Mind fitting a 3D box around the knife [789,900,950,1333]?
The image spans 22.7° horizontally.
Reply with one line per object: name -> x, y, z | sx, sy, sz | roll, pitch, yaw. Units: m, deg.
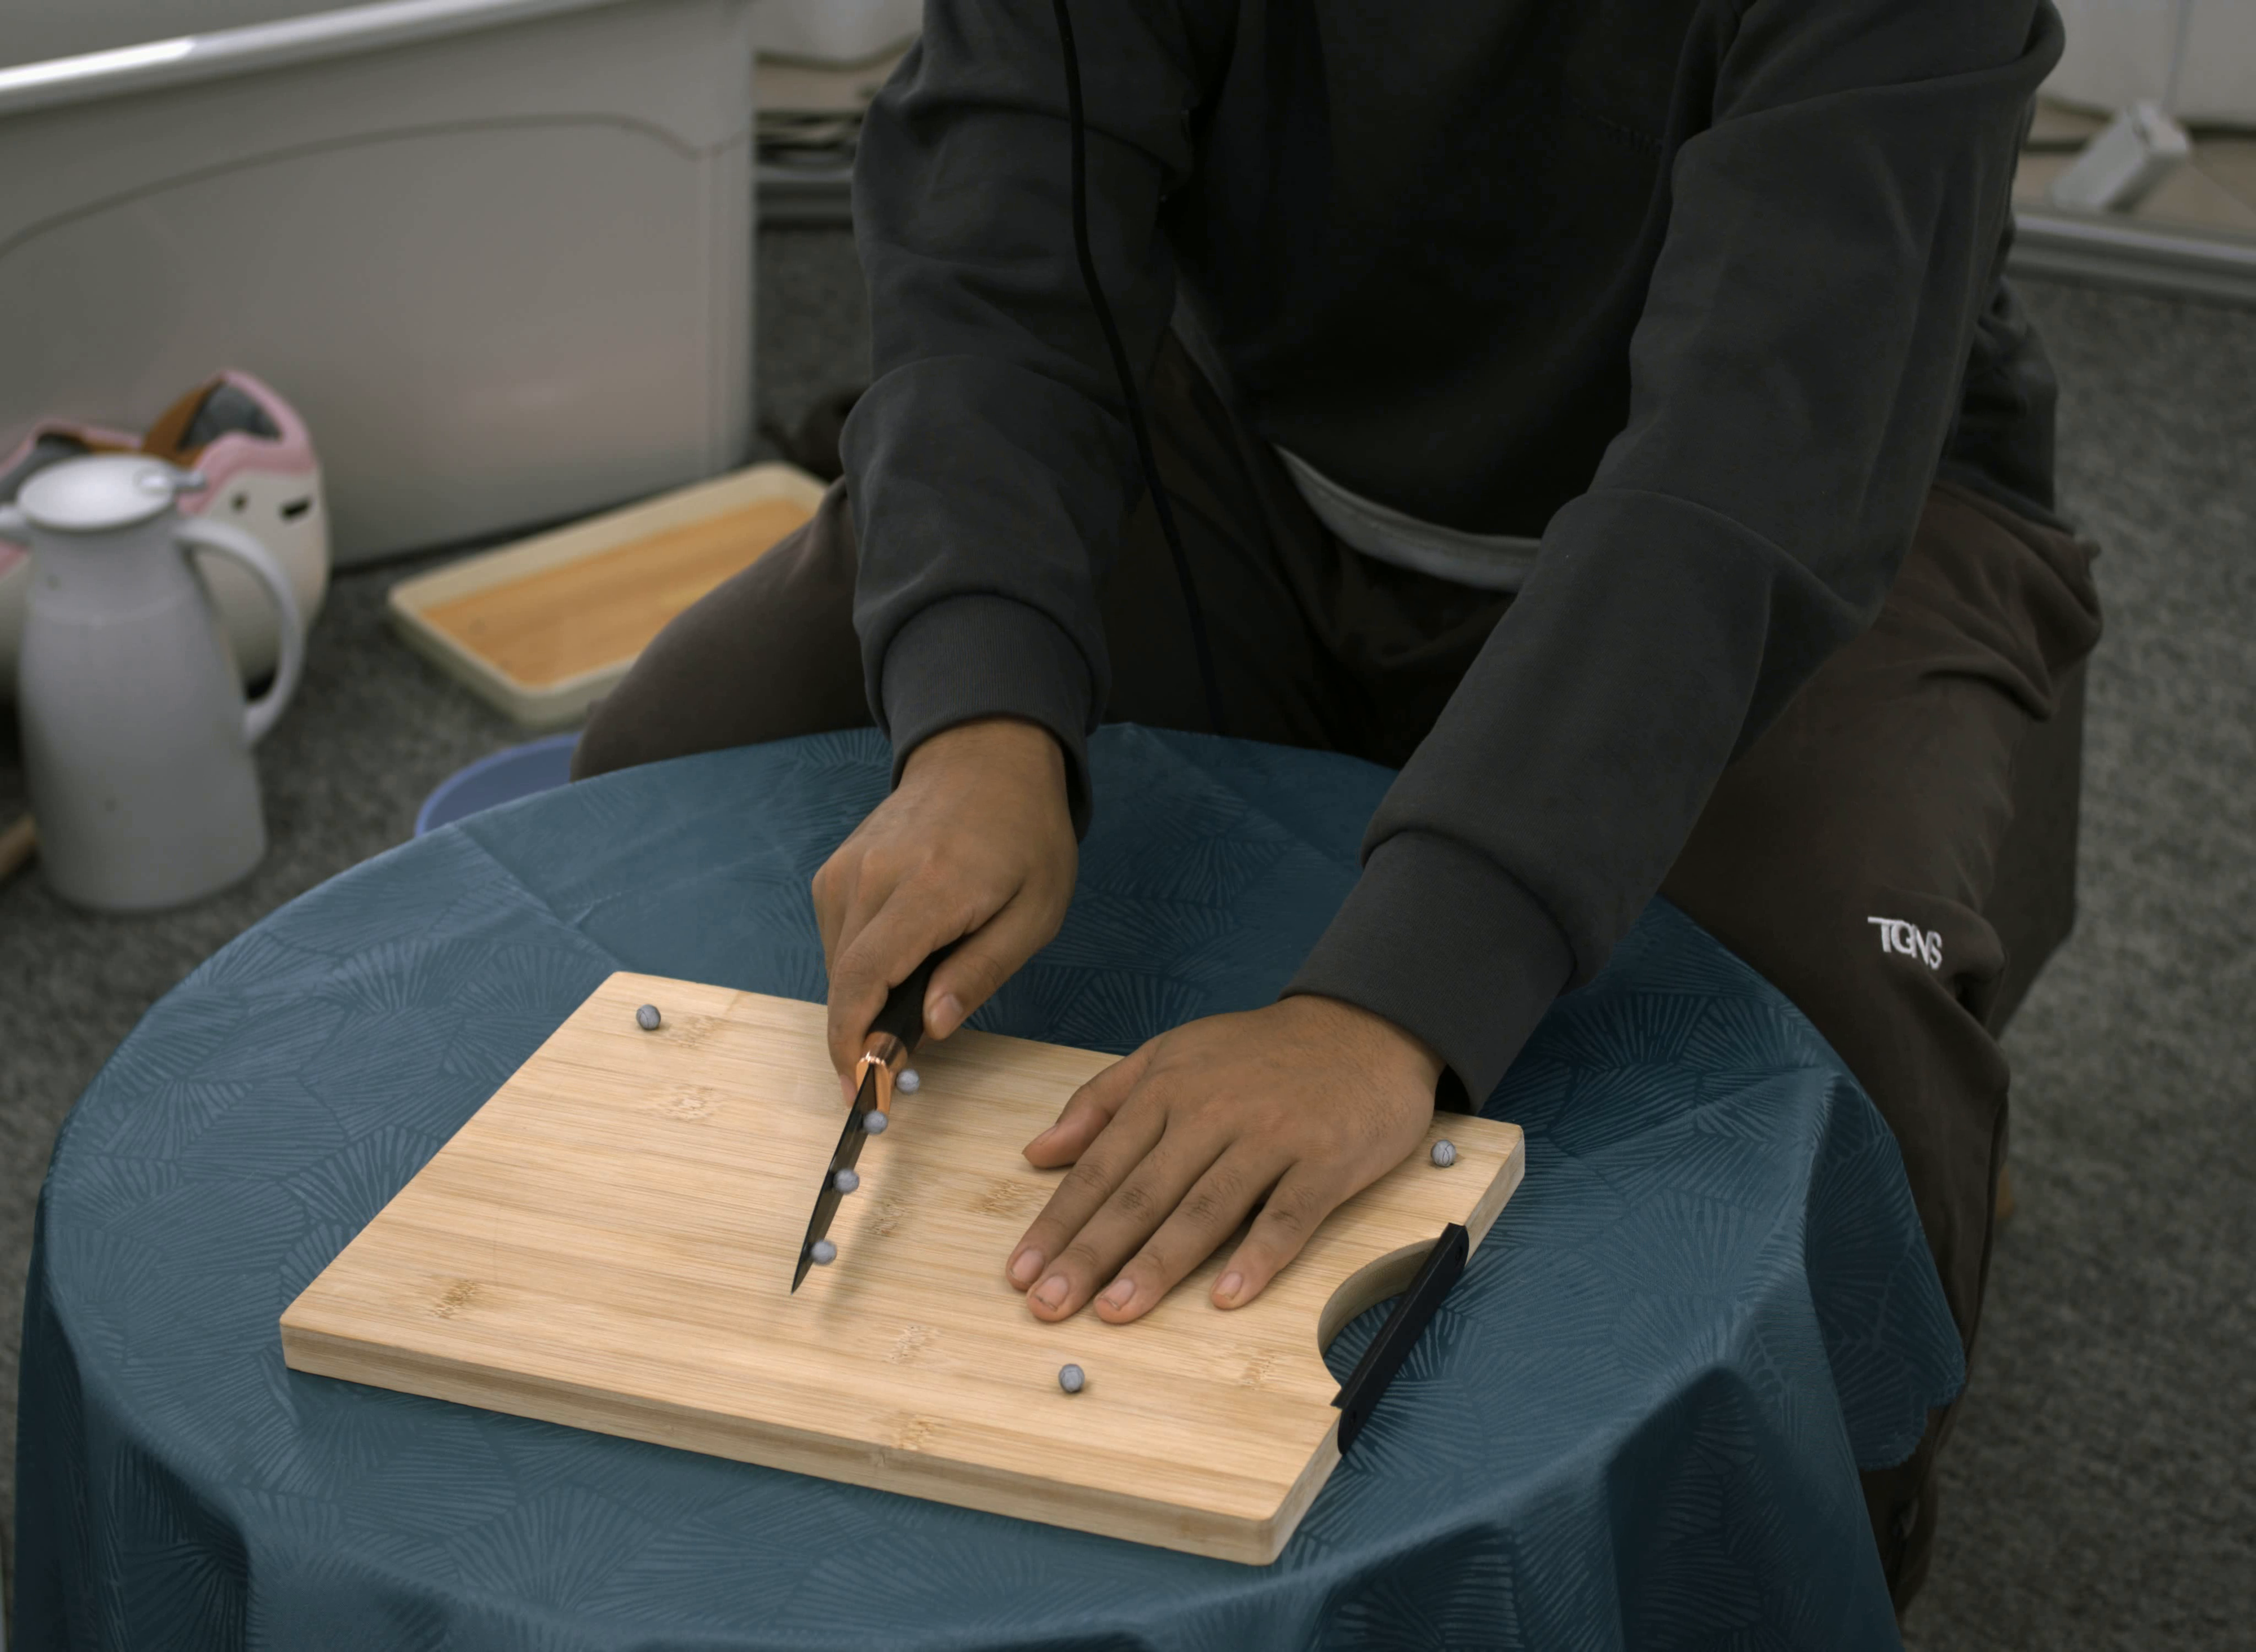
knife -> -0.086, 0.092, 1.848 | 0.017, 0.026, 0.230 | 8, 33, 6

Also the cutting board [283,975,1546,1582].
cutting board -> -0.065, 0.138, 1.821 | 0.346, 0.023, 0.255 | 8, 30, 20
